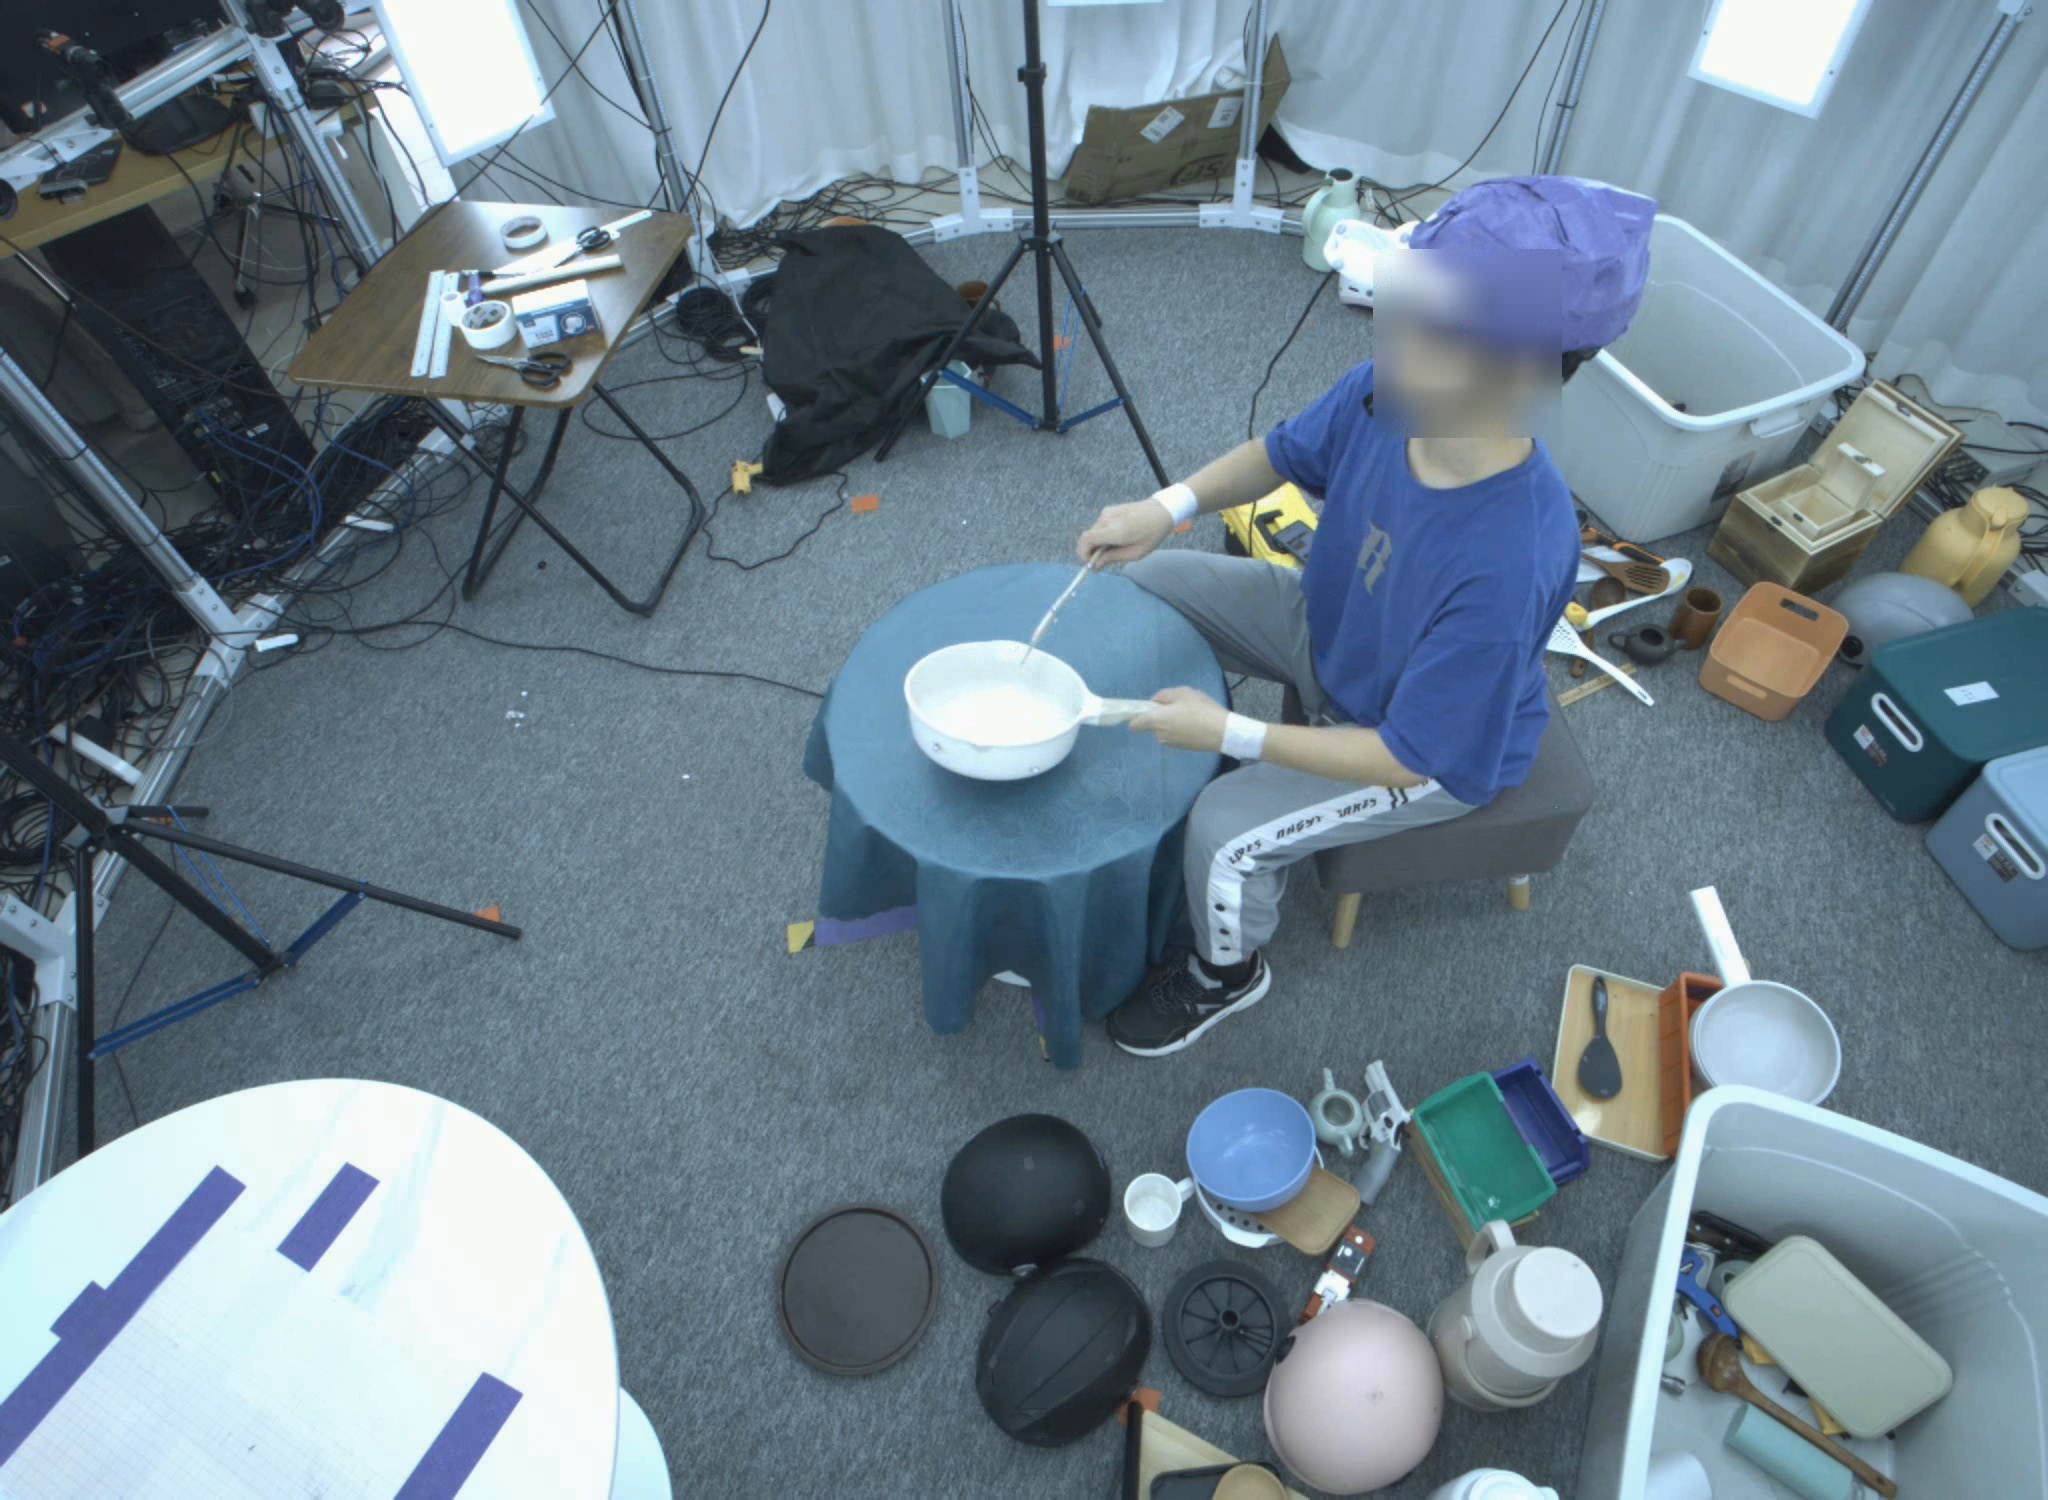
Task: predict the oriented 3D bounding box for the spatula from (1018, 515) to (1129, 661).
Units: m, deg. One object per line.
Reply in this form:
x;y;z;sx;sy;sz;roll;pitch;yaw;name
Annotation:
0.073;-0.236;1.706;0.010;0.072;0.294;34;59;5;spatula

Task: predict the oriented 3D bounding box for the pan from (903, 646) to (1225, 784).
0.050;-0.037;1.681;0.435;0.102;0.261;8;34;1;pan
